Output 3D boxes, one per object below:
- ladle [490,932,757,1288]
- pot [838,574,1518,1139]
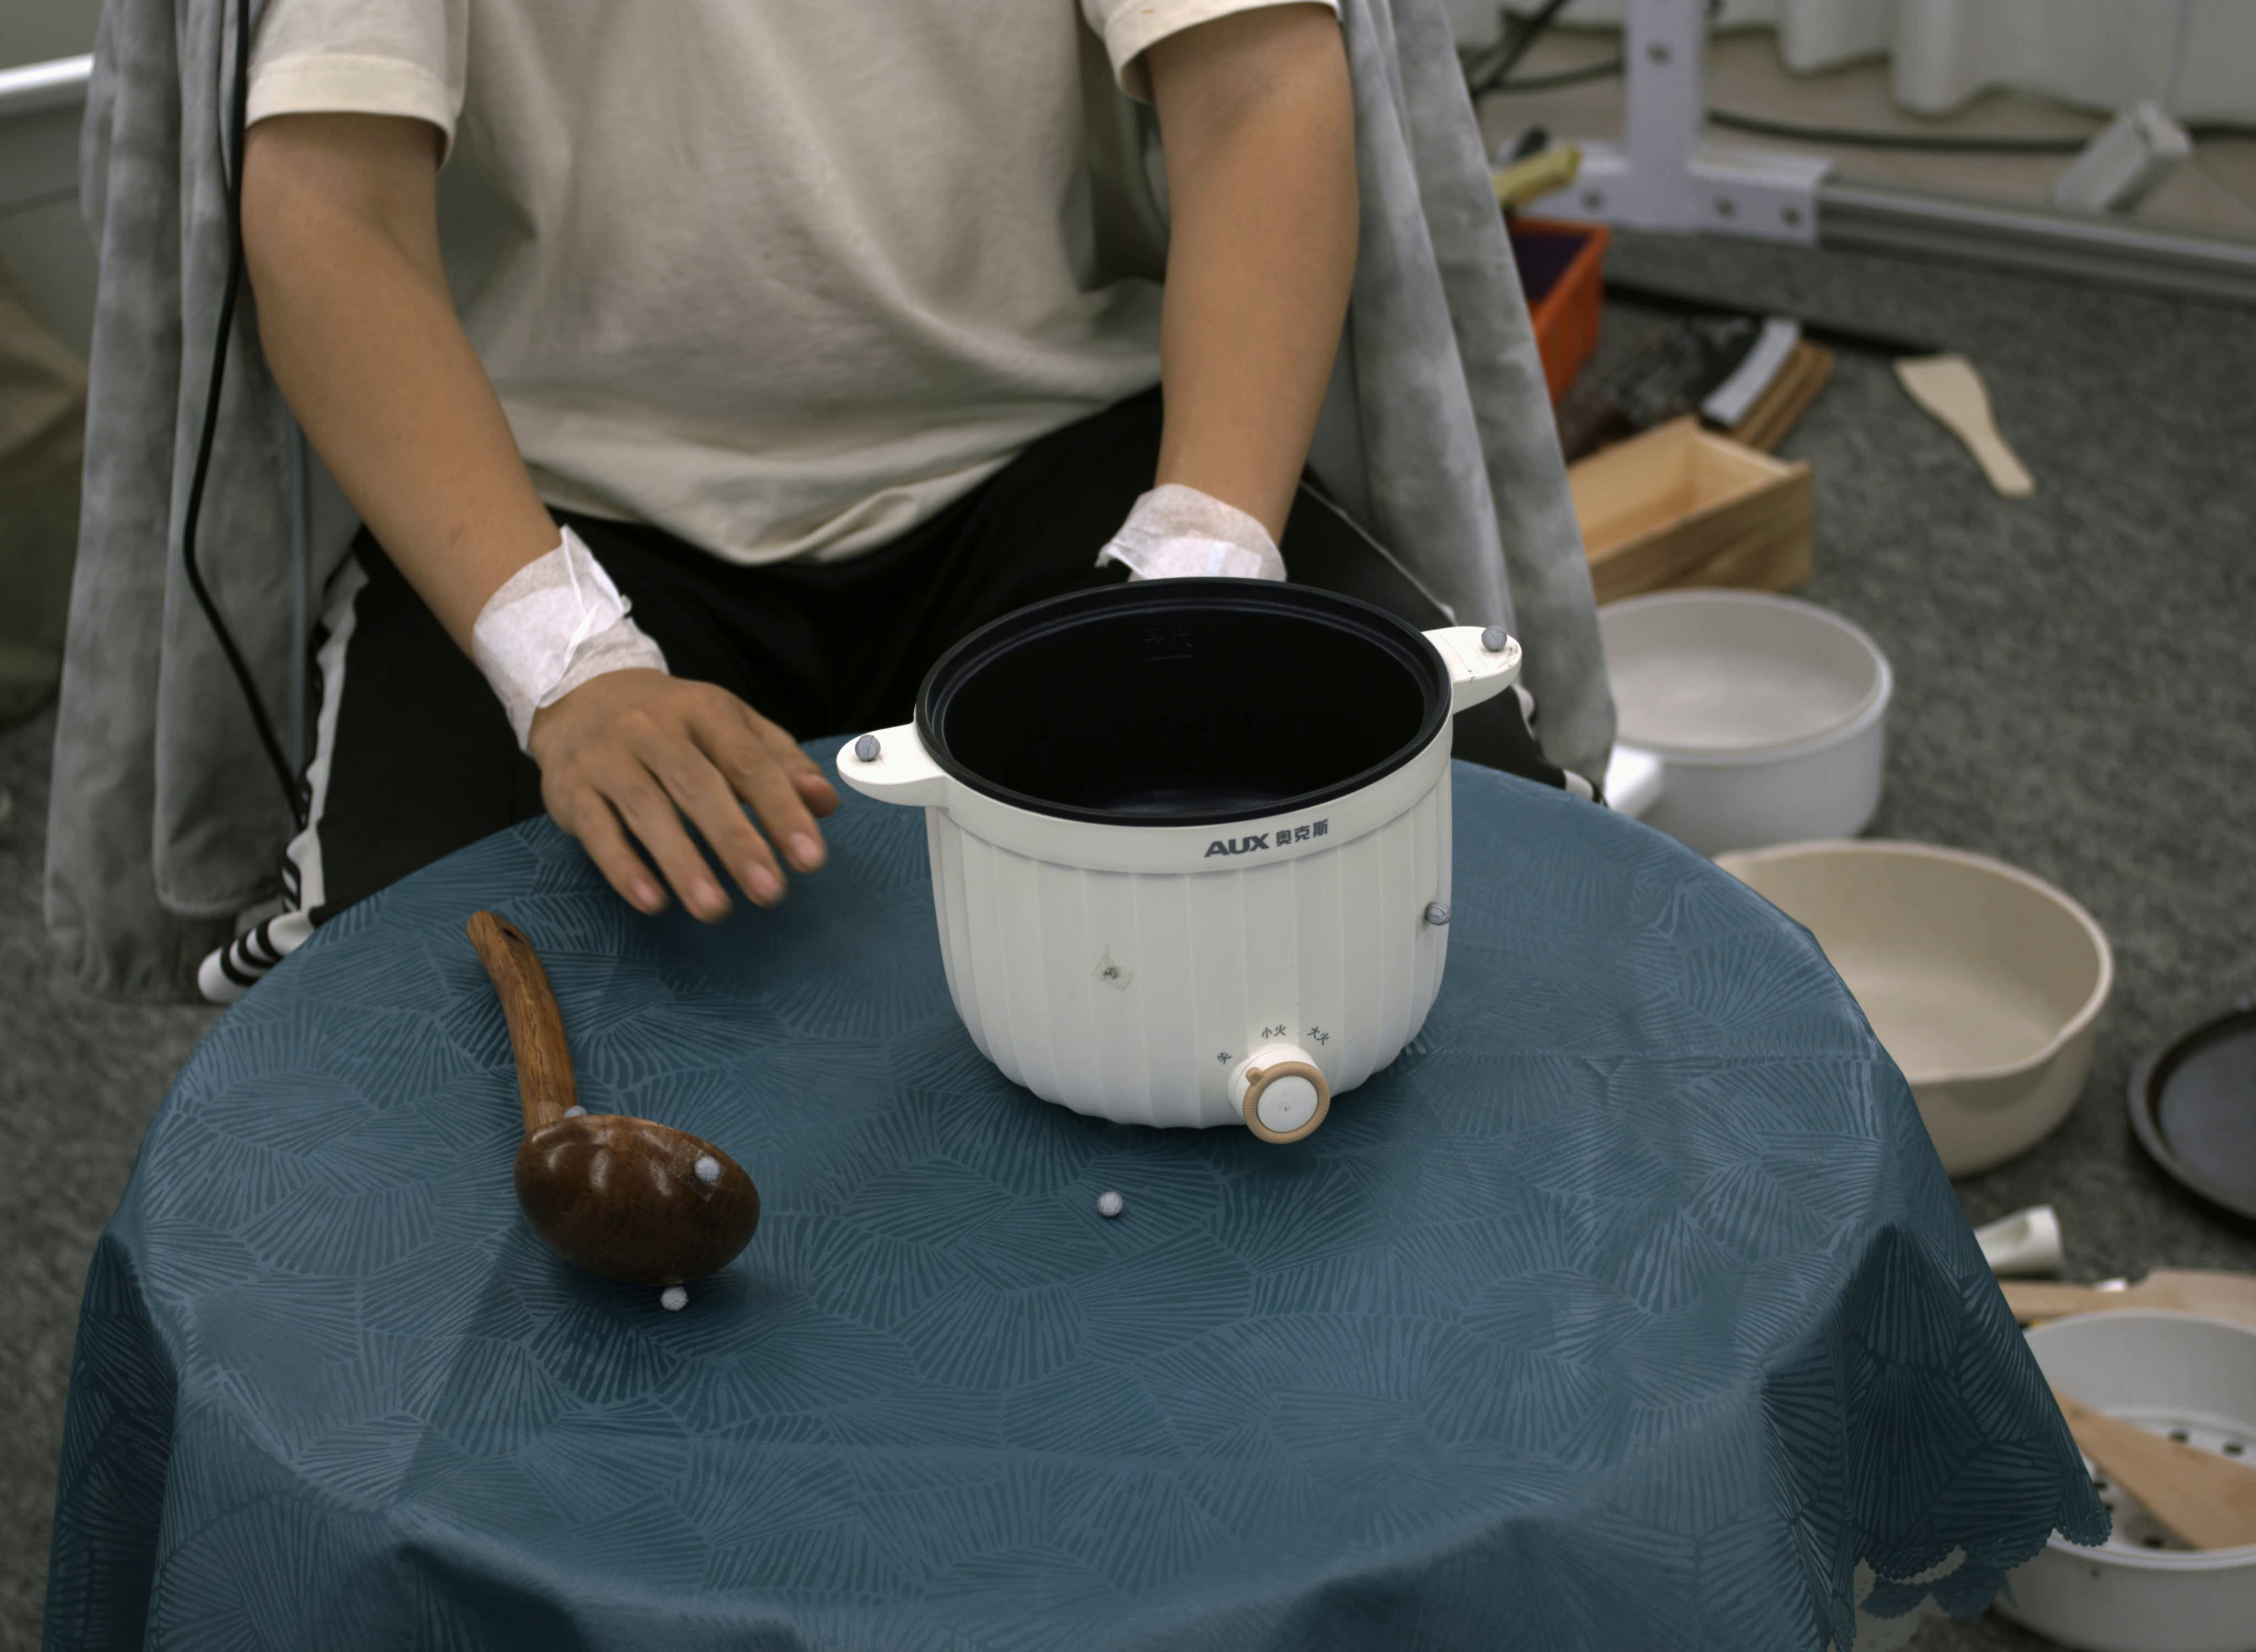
[{"bbox_3d":[-0.179,0.076,1.896,0.081,0.076,0.277,38,13,-23],"label":"ladle"},{"bbox_3d":[0.025,0.015,1.914,0.240,0.141,0.192,-12,24,-14],"label":"pot"}]
